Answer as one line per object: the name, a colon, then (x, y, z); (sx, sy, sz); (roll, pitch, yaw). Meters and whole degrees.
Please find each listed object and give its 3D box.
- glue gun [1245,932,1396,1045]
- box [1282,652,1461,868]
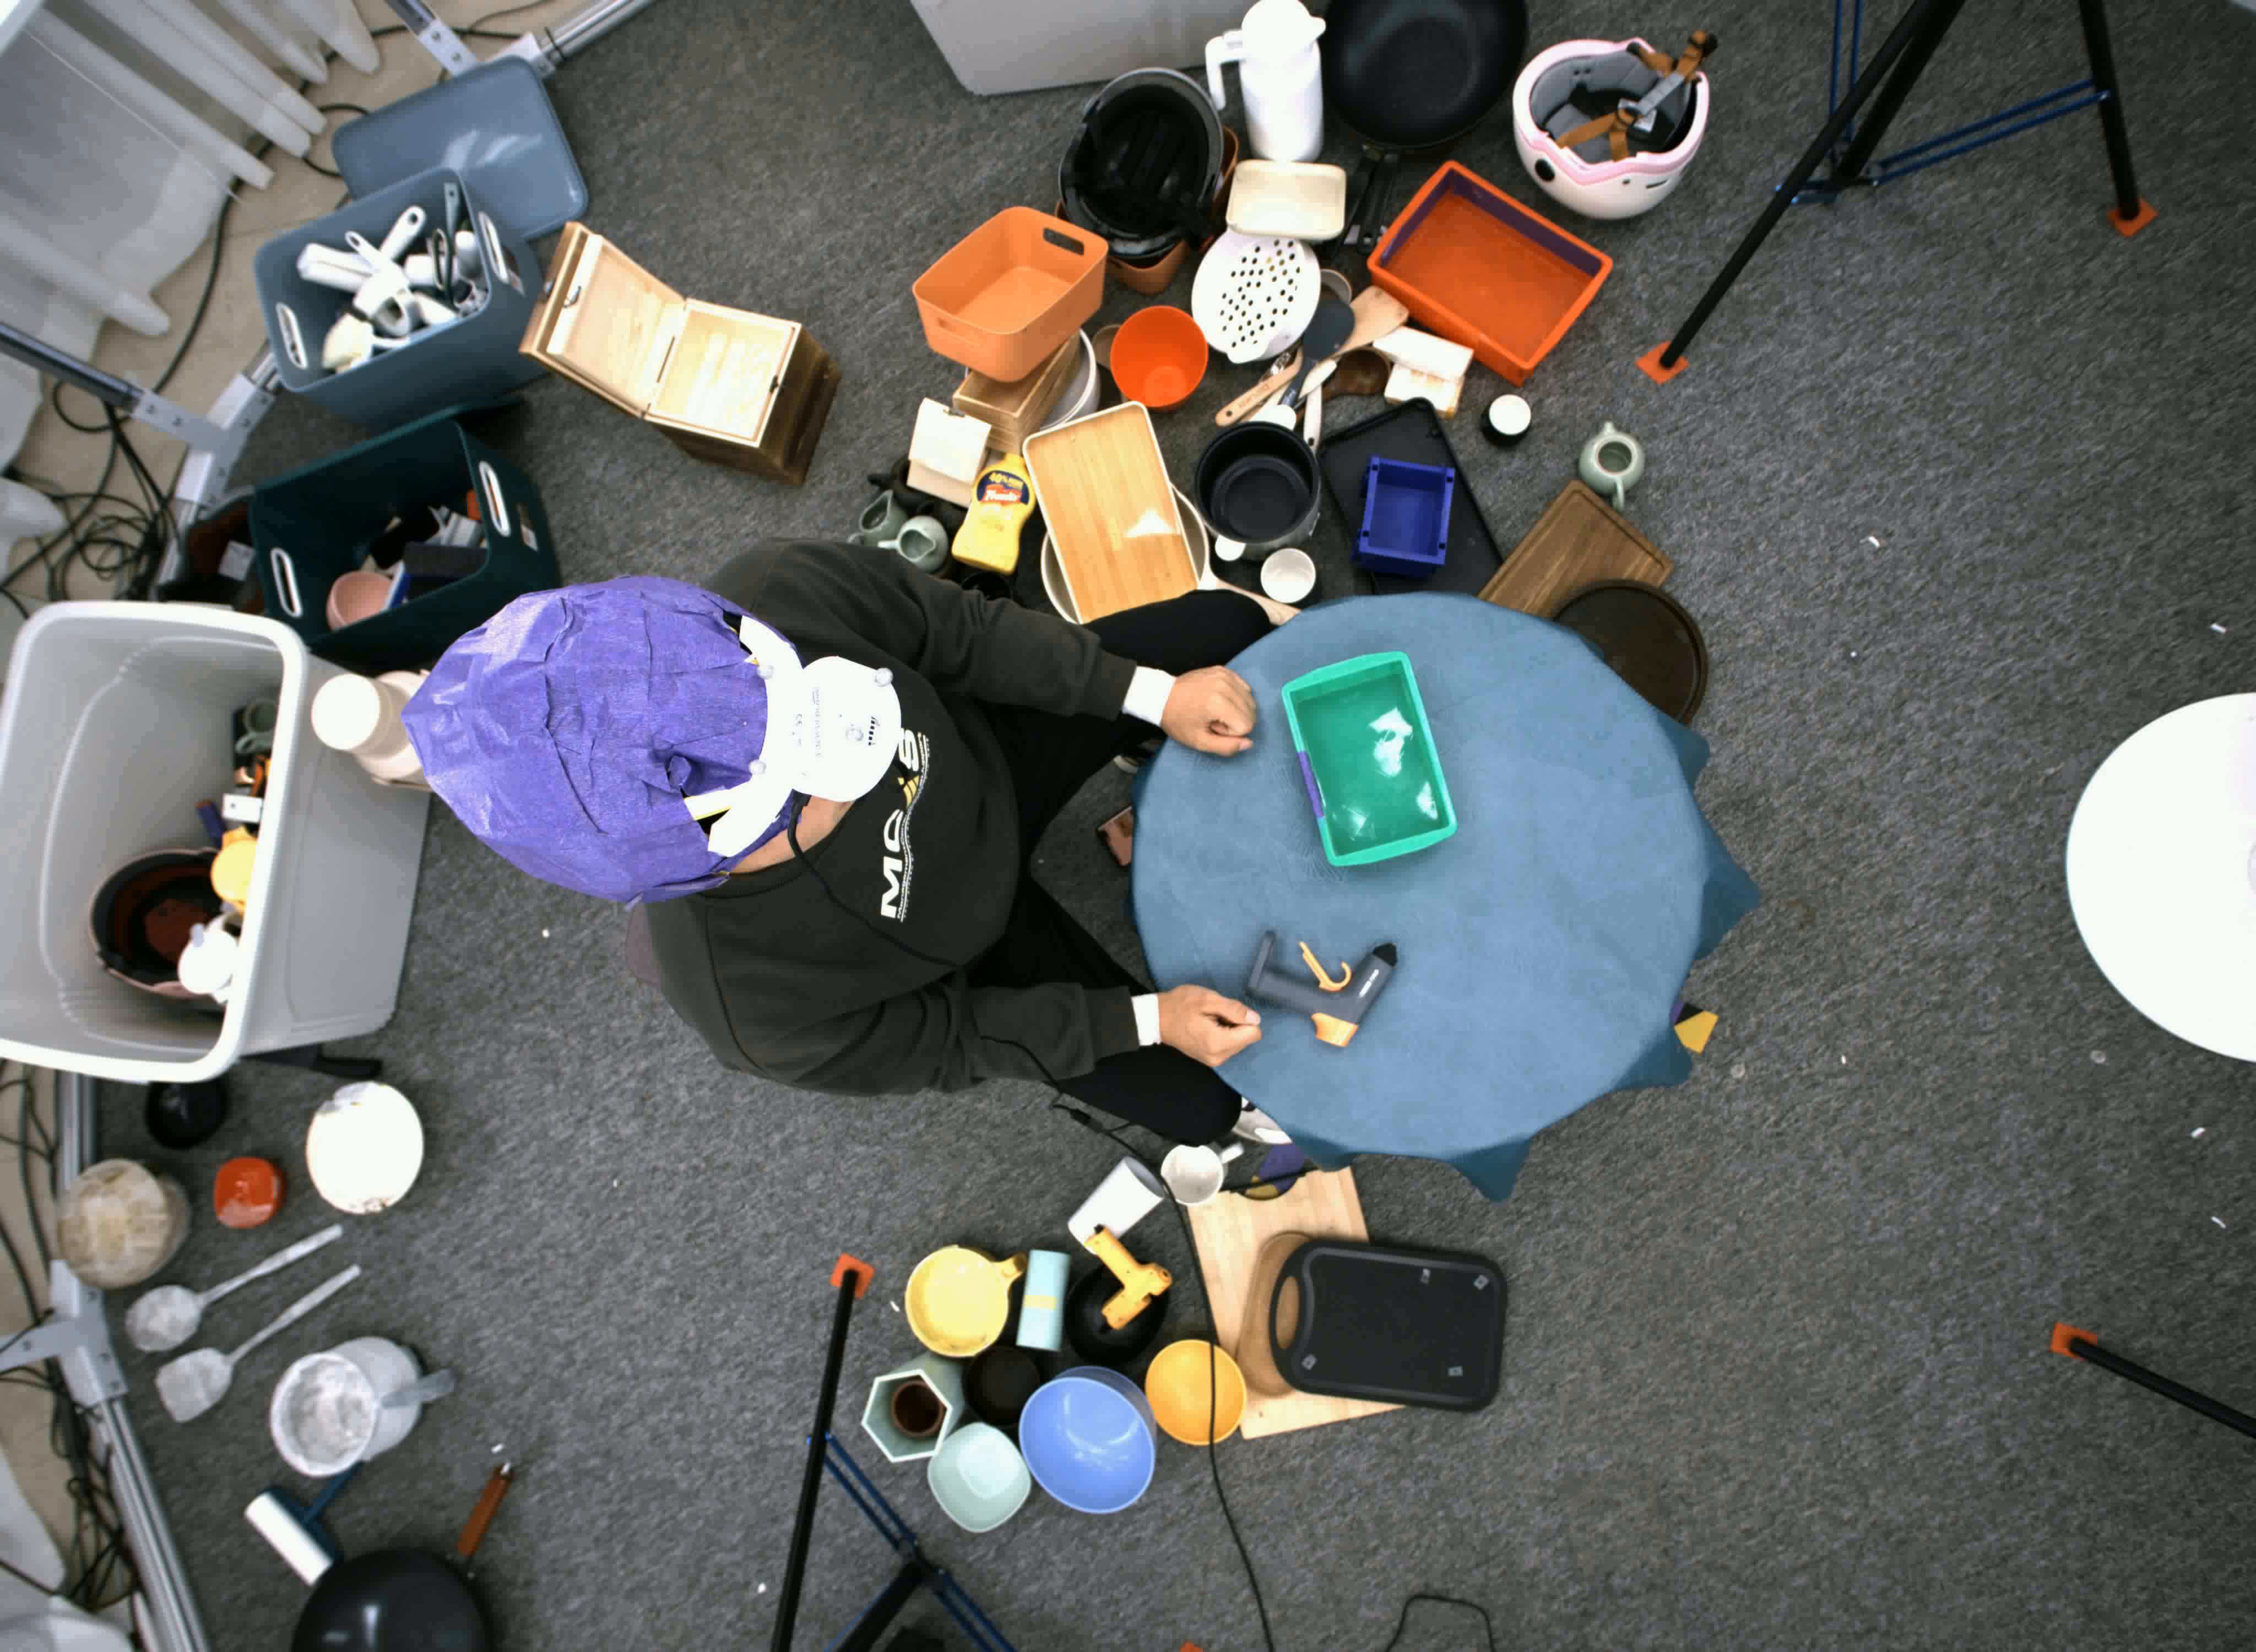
glue gun: (0.202, 0.159, 1.451); (0.140, 0.041, 0.117); (17, 88, 9)
box: (0.253, -0.067, 1.439); (0.139, 0.065, 0.209); (-17, 85, 10)
